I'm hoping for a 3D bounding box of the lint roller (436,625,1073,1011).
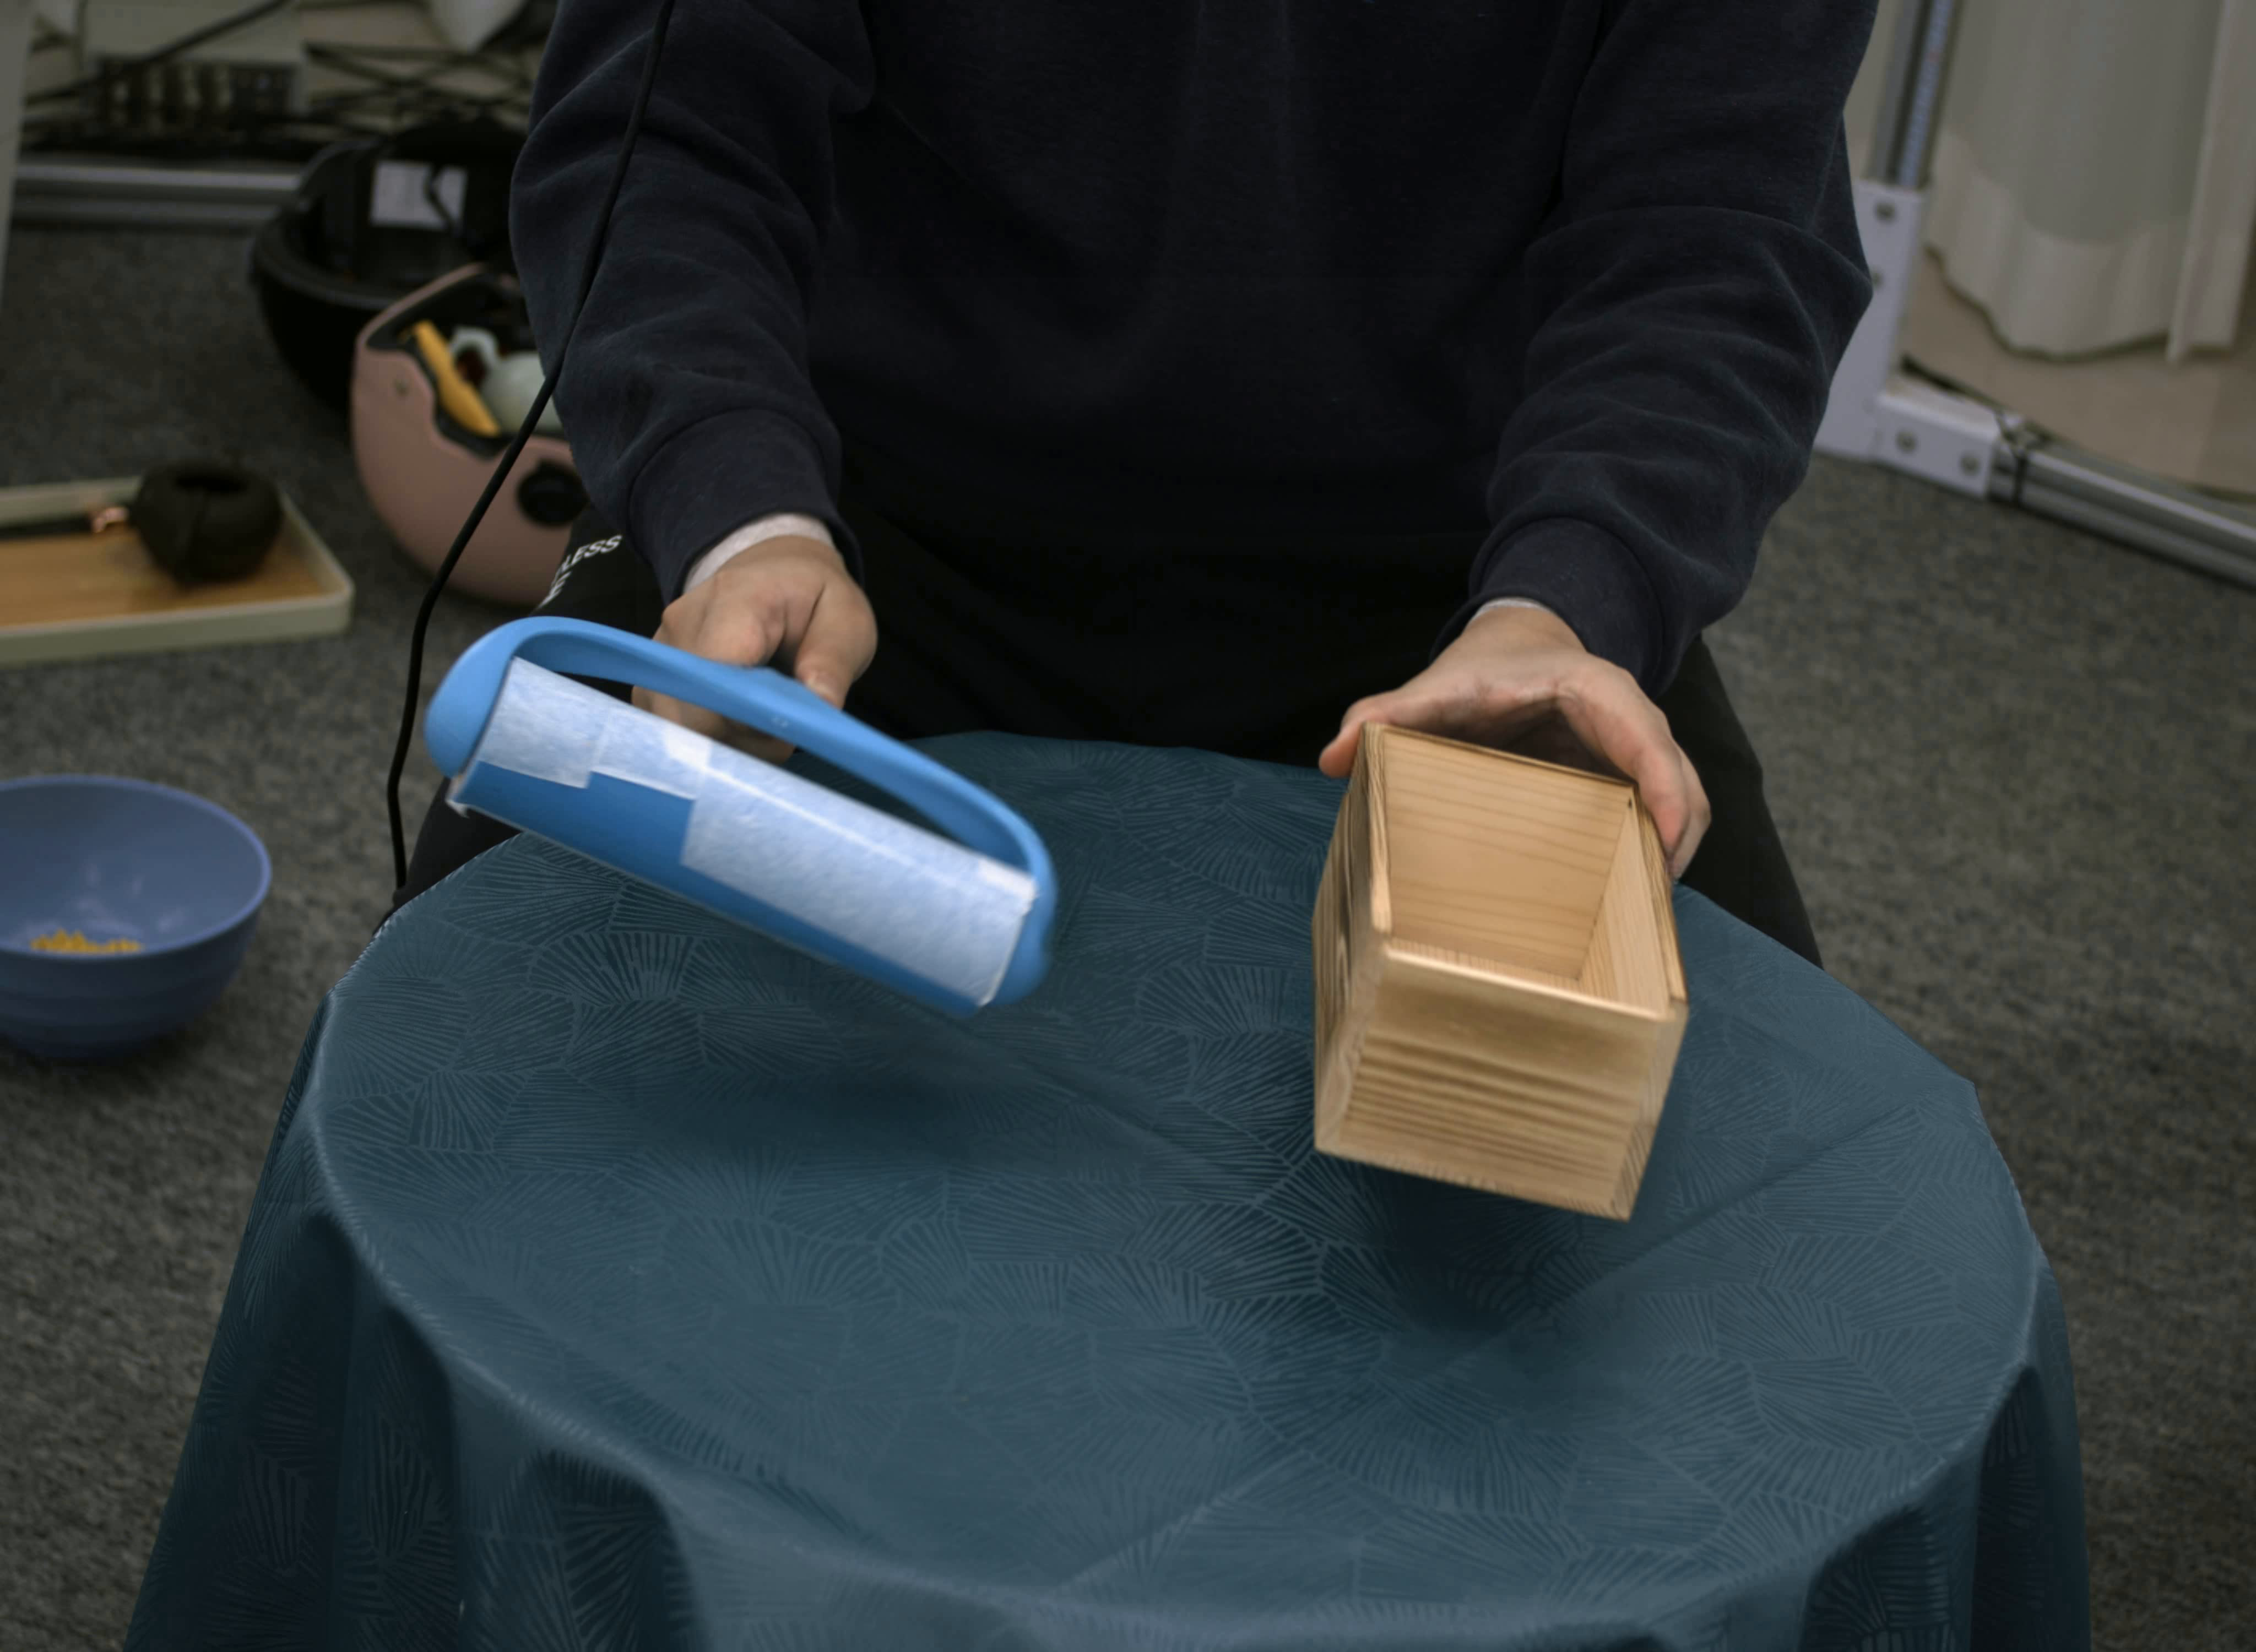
[{"bbox_3d":[-0.129,-0.023,1.863,0.228,0.068,0.181,19,24,-11],"label":"lint roller"}]

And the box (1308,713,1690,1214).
[{"bbox_3d":[0.122,0.043,1.800,0.107,0.080,0.212,13,19,-3],"label":"box"}]
